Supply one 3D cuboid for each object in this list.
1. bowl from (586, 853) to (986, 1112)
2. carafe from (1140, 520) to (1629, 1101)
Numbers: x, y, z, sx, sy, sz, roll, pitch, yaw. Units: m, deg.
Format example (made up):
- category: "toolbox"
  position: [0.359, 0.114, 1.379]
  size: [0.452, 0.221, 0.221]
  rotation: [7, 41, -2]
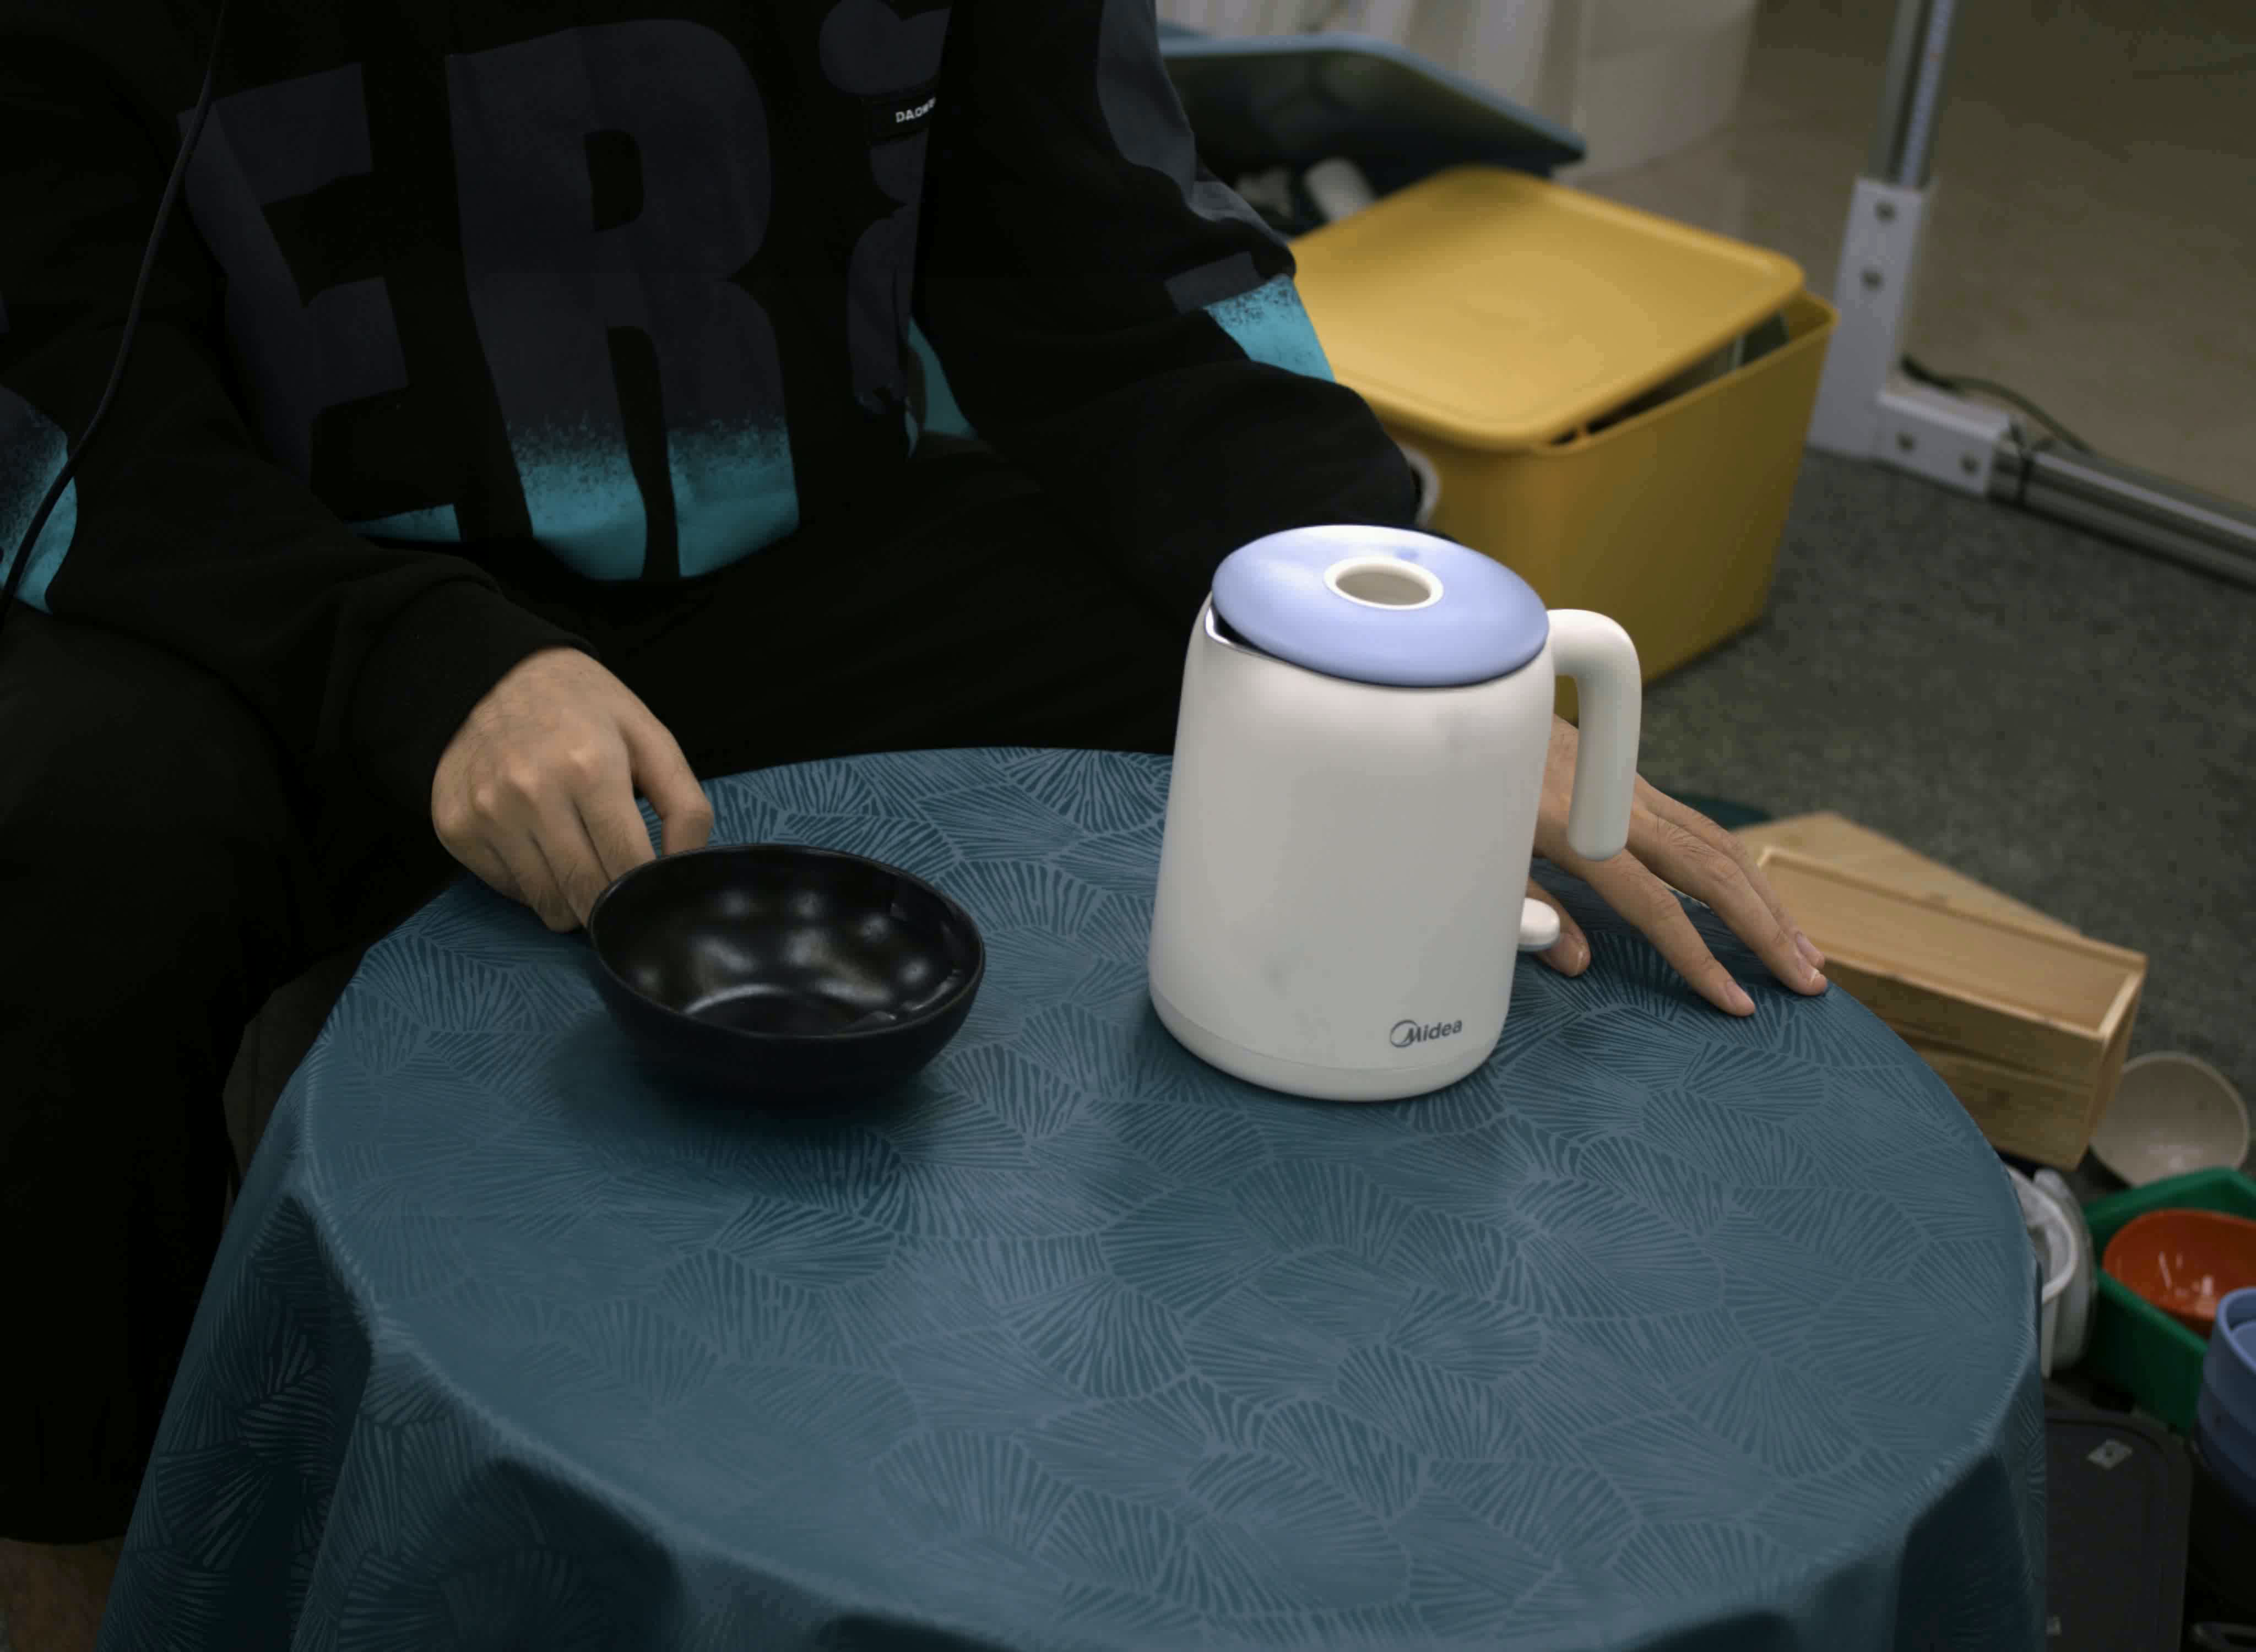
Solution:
- category: "bowl"
  position: [-0.120, 0.061, 1.843]
  size: [0.139, 0.049, 0.141]
  rotation: [5, 25, -3]
- category: "carafe"
  position: [0.099, -0.009, 1.894]
  size: [0.190, 0.182, 0.133]
  rotation: [-7, 31, -30]
